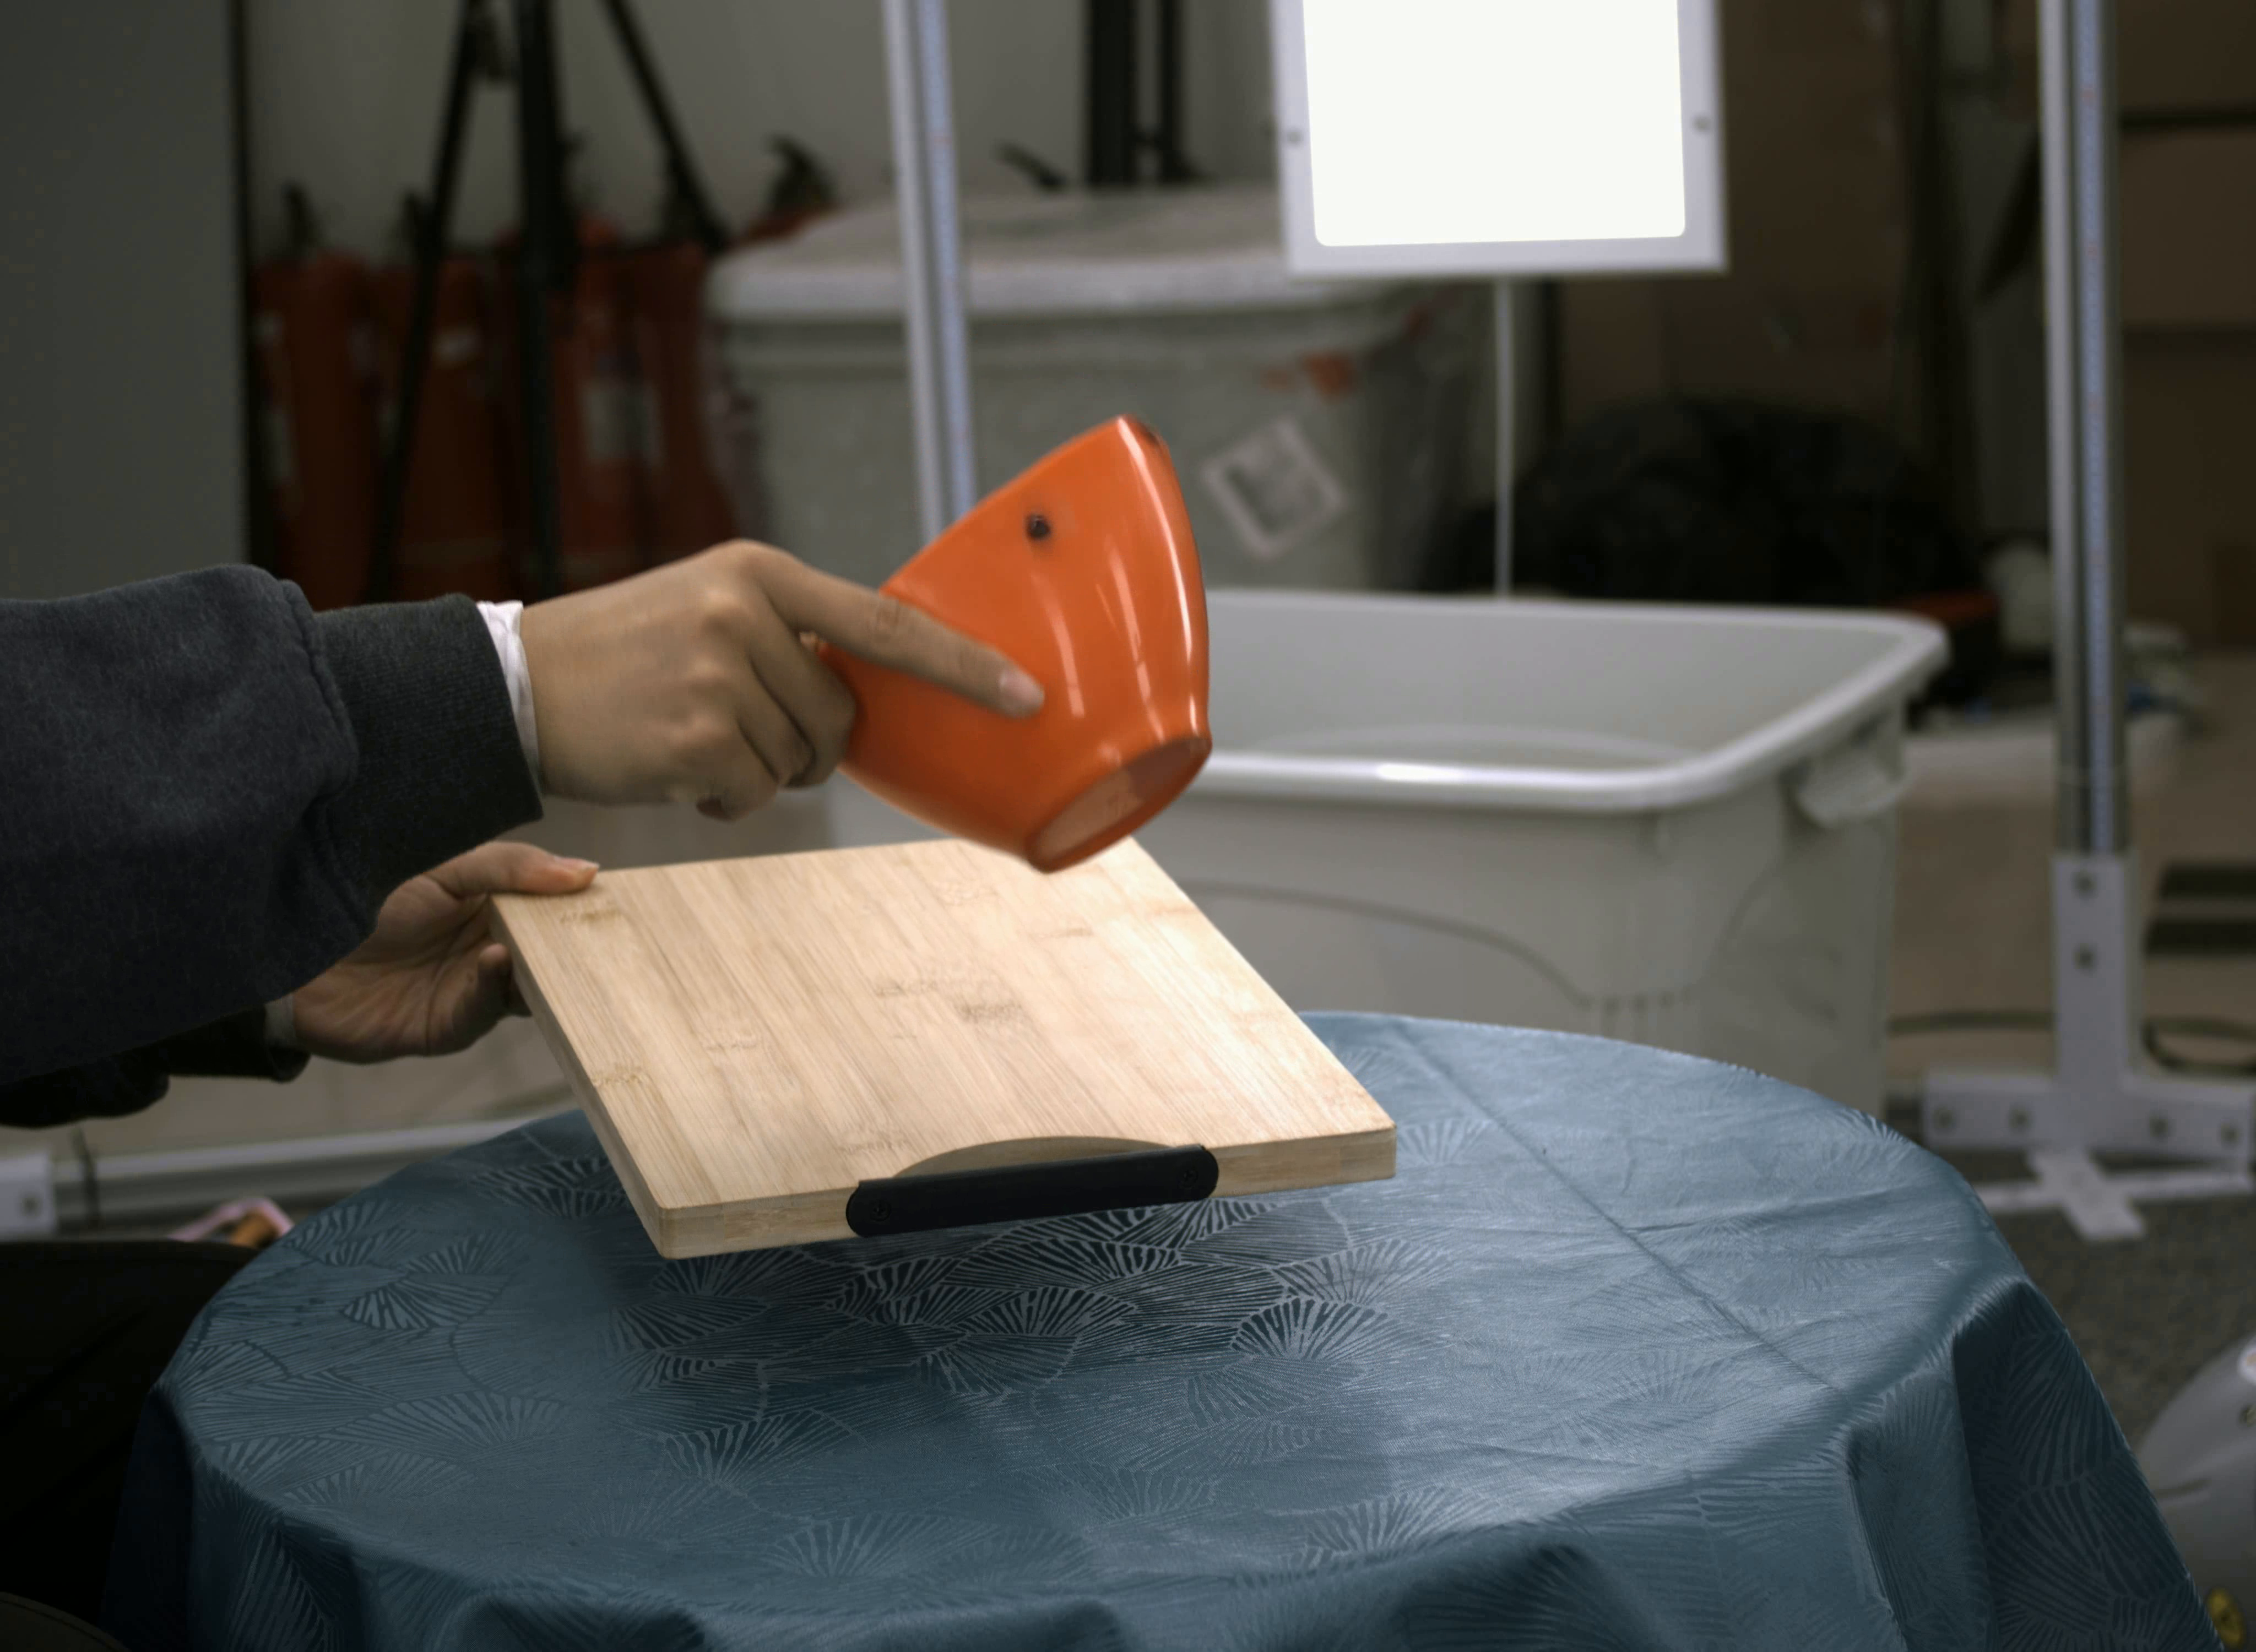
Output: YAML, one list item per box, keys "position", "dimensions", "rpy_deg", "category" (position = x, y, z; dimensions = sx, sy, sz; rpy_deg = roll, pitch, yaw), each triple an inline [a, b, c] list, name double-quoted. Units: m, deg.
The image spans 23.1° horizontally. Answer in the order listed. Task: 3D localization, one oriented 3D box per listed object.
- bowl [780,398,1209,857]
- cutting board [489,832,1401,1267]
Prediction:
- position: [-0.025, -0.051, 1.666]
  dimensions: [0.146, 0.105, 0.148]
  rpy_deg: [-31, -18, -13]
  category: "bowl"
- position: [-0.072, 0.069, 1.868]
  dimensions: [0.247, 0.024, 0.352]
  rpy_deg: [-7, 18, -14]
  category: "cutting board"
